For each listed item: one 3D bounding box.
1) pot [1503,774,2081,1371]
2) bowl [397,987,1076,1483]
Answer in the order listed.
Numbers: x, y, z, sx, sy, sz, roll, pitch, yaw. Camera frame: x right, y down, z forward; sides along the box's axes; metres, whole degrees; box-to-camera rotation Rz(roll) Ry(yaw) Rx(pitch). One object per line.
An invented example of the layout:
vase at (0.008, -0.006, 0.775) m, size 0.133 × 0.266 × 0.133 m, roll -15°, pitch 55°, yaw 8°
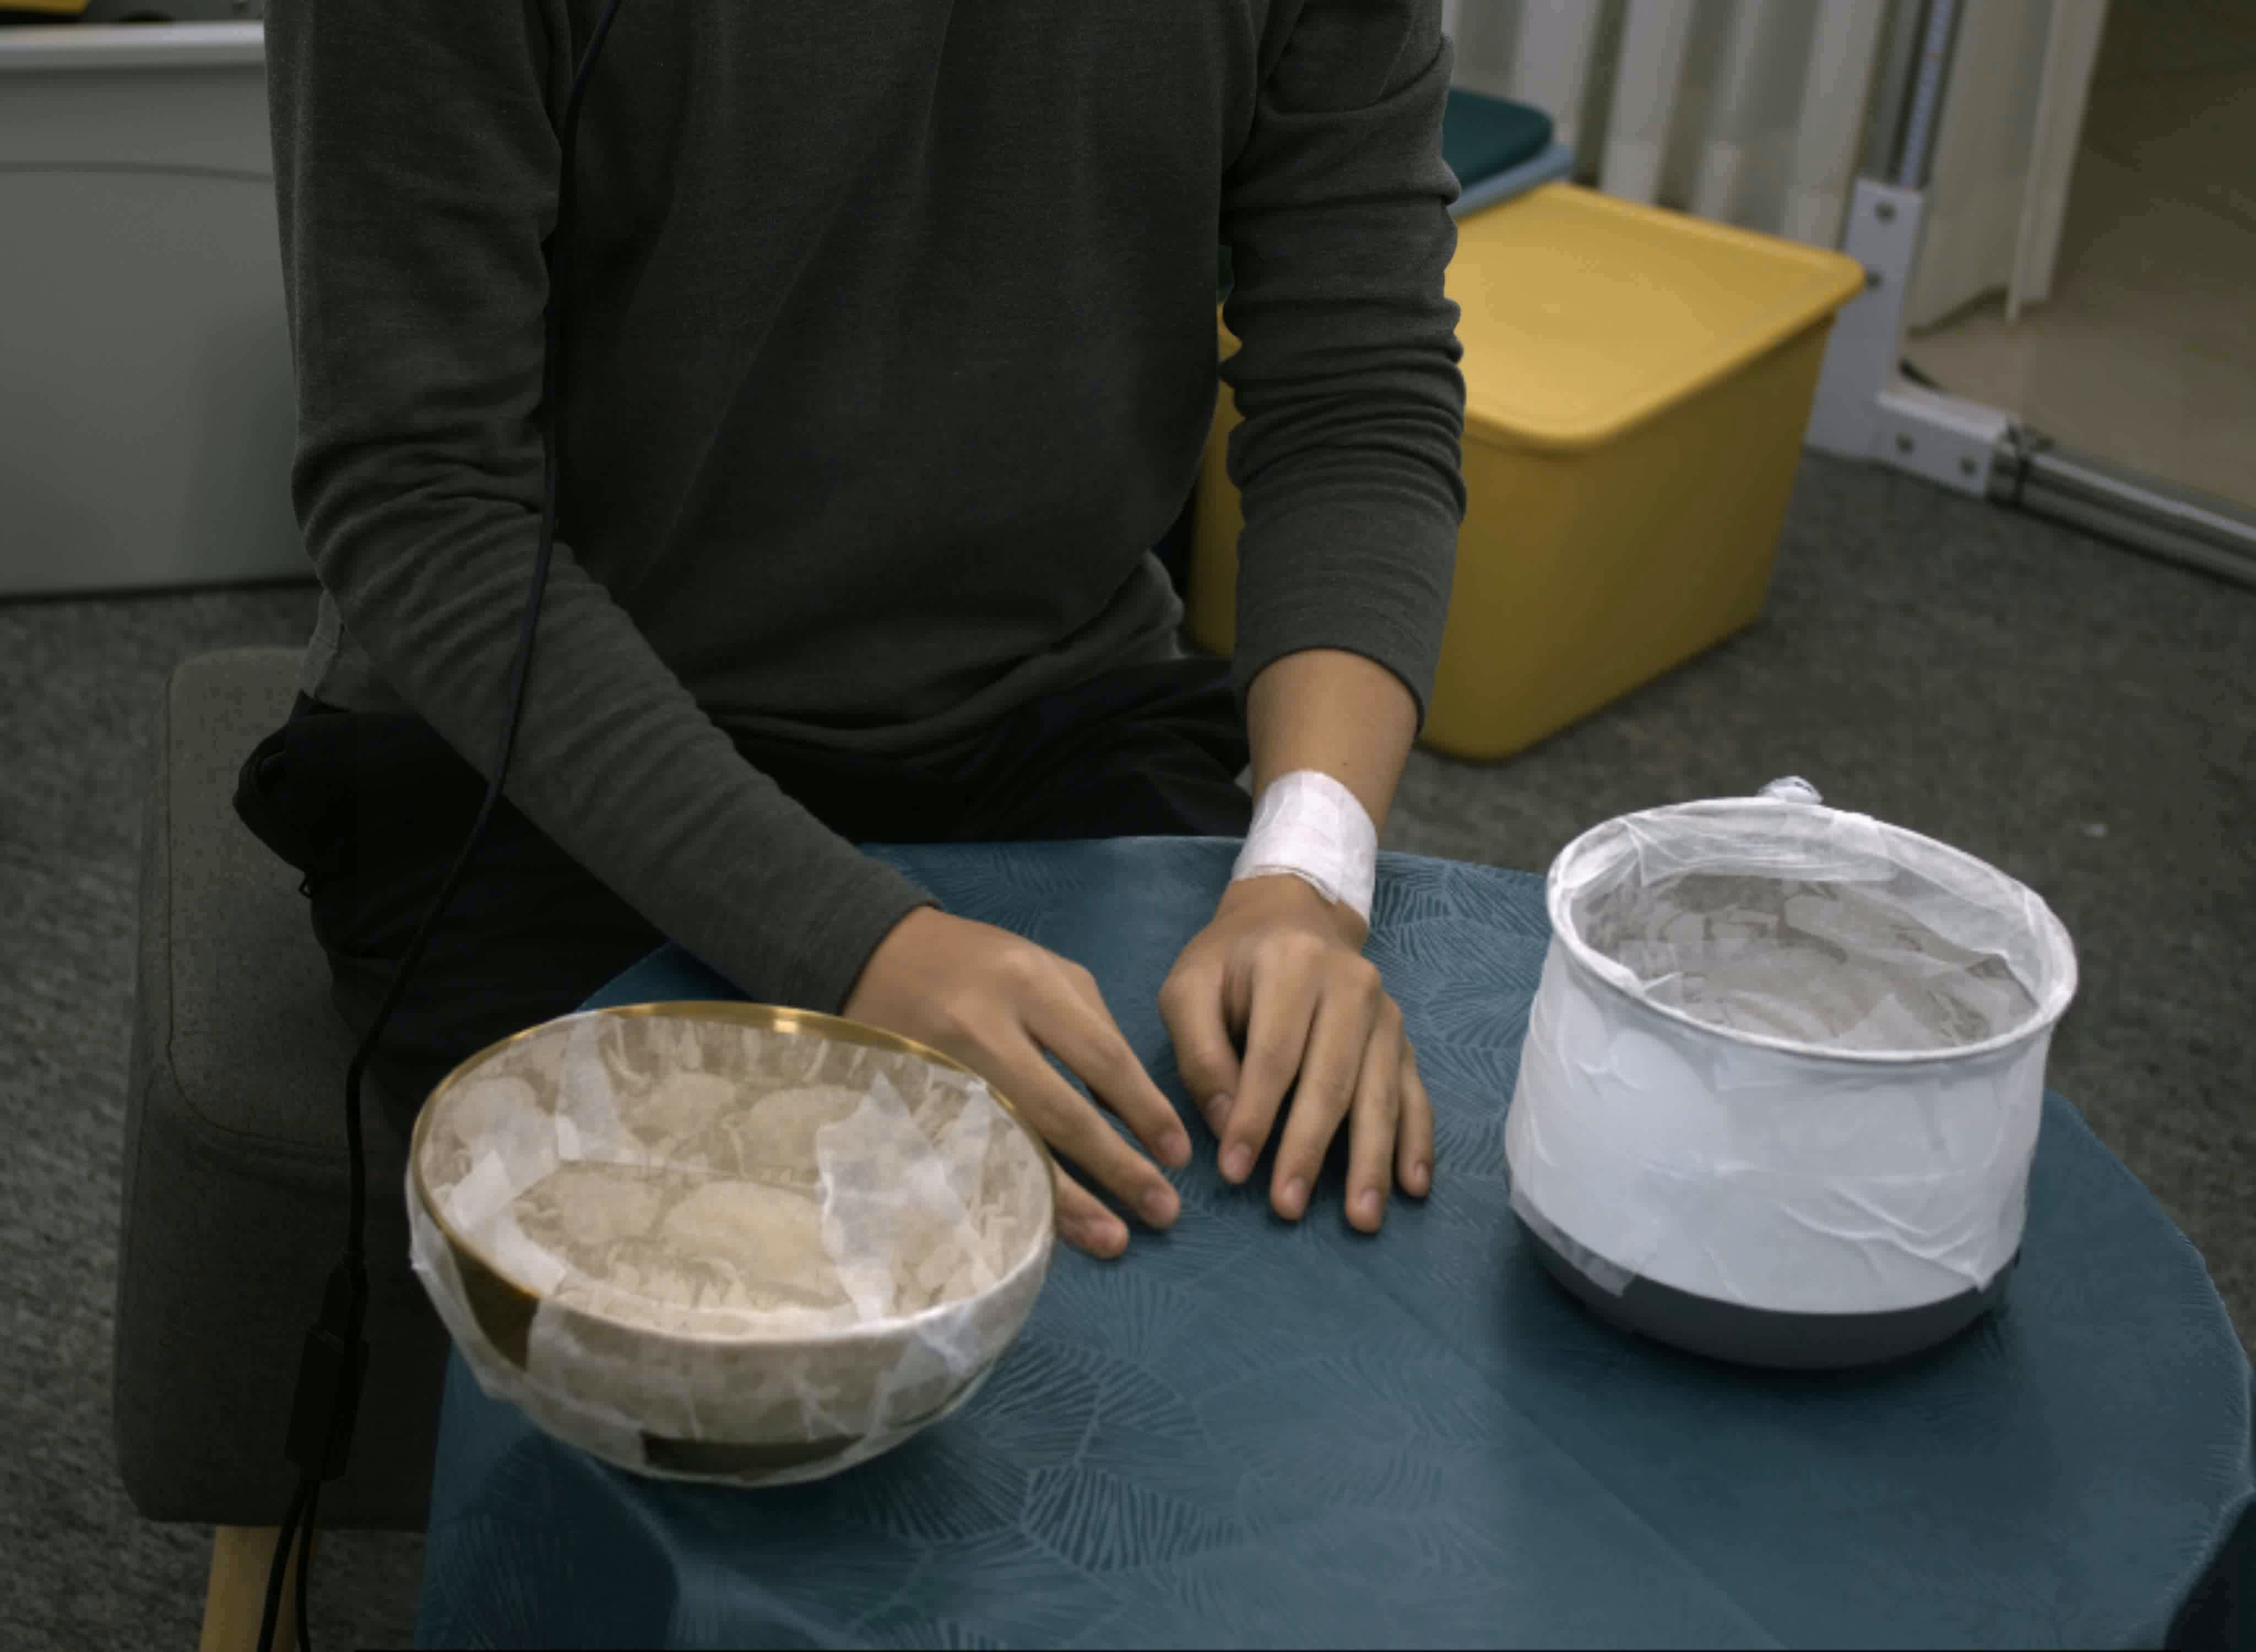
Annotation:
pot at (0.218, 0.075, 1.799) m, size 0.178 × 0.136 × 0.235 m, roll 7°, pitch 27°, yaw -1°
bowl at (-0.124, 0.139, 1.645) m, size 0.214 × 0.094 × 0.216 m, roll 3°, pitch 26°, yaw -2°
